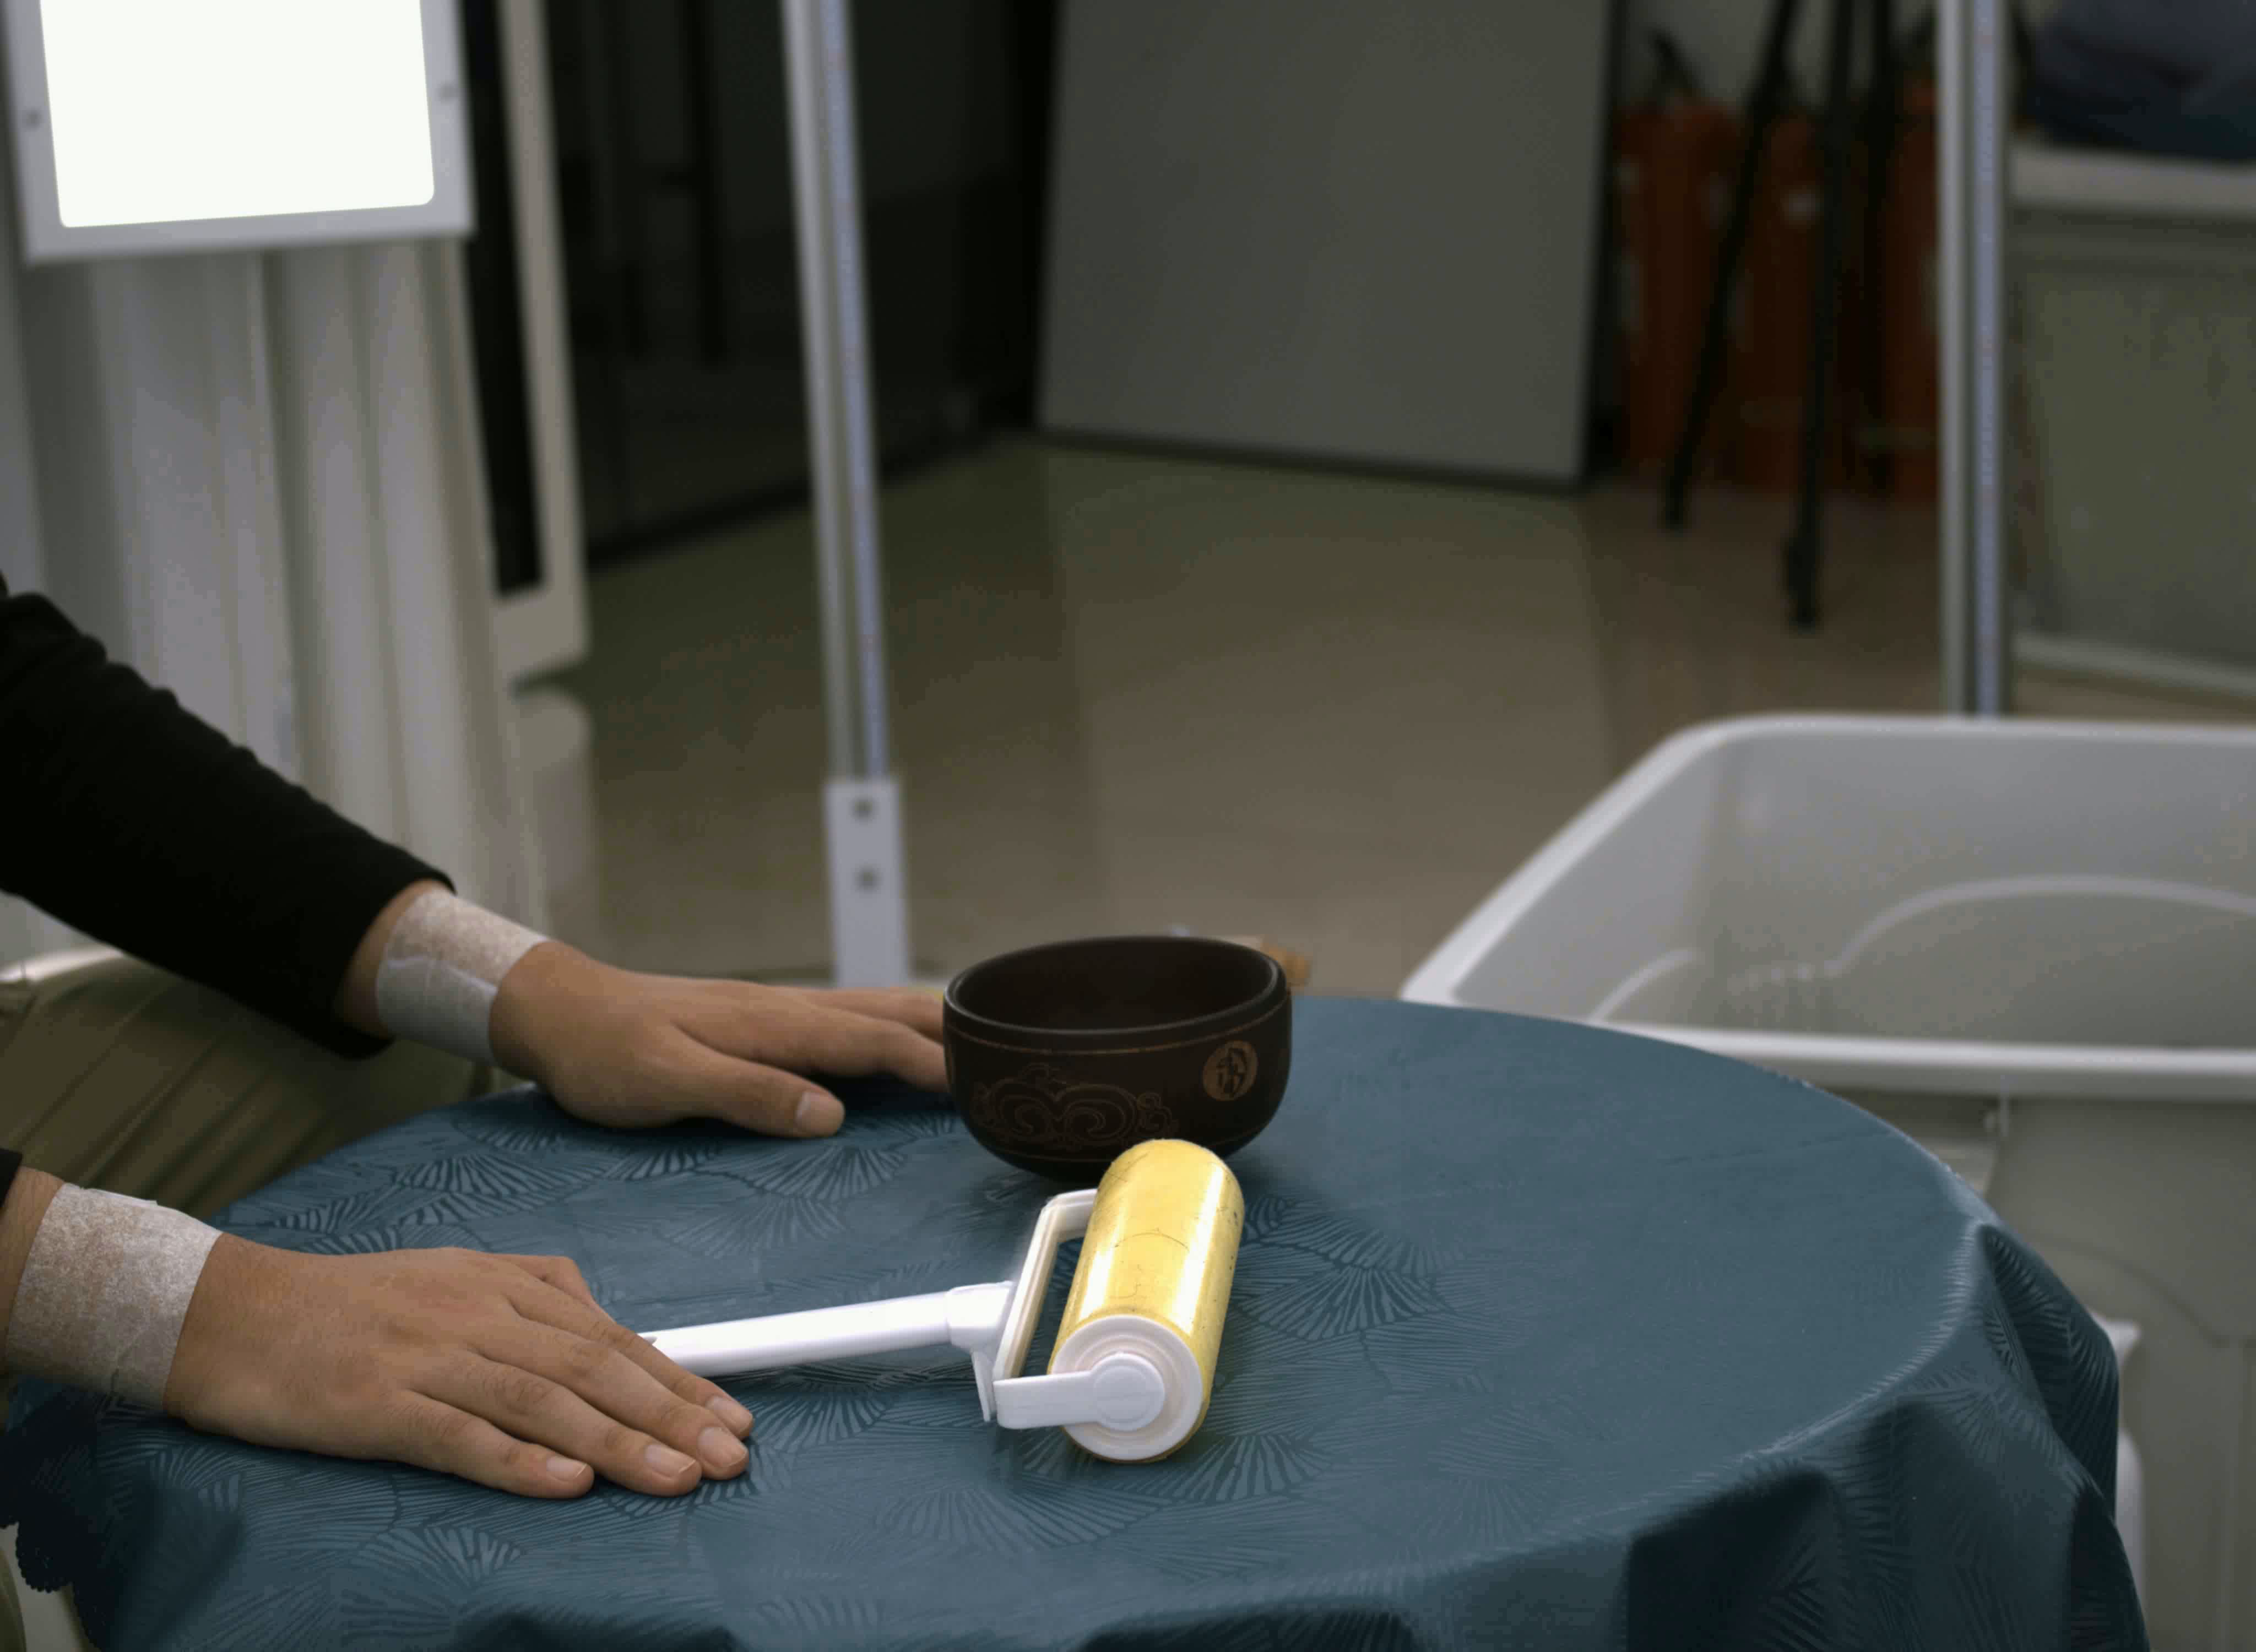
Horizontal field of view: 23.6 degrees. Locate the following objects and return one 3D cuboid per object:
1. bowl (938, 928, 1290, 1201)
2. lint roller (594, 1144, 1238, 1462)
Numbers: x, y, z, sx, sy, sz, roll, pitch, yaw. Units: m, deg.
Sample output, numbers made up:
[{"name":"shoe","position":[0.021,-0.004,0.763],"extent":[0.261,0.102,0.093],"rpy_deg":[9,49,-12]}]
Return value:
[{"name":"bowl","position":[-0.004,0.082,1.774],"extent":[0.116,0.070,0.118],"rpy_deg":[-3,13,0]},{"name":"lint roller","position":[-0.064,0.140,1.603],"extent":[0.190,0.052,0.174],"rpy_deg":[1,14,4]}]
